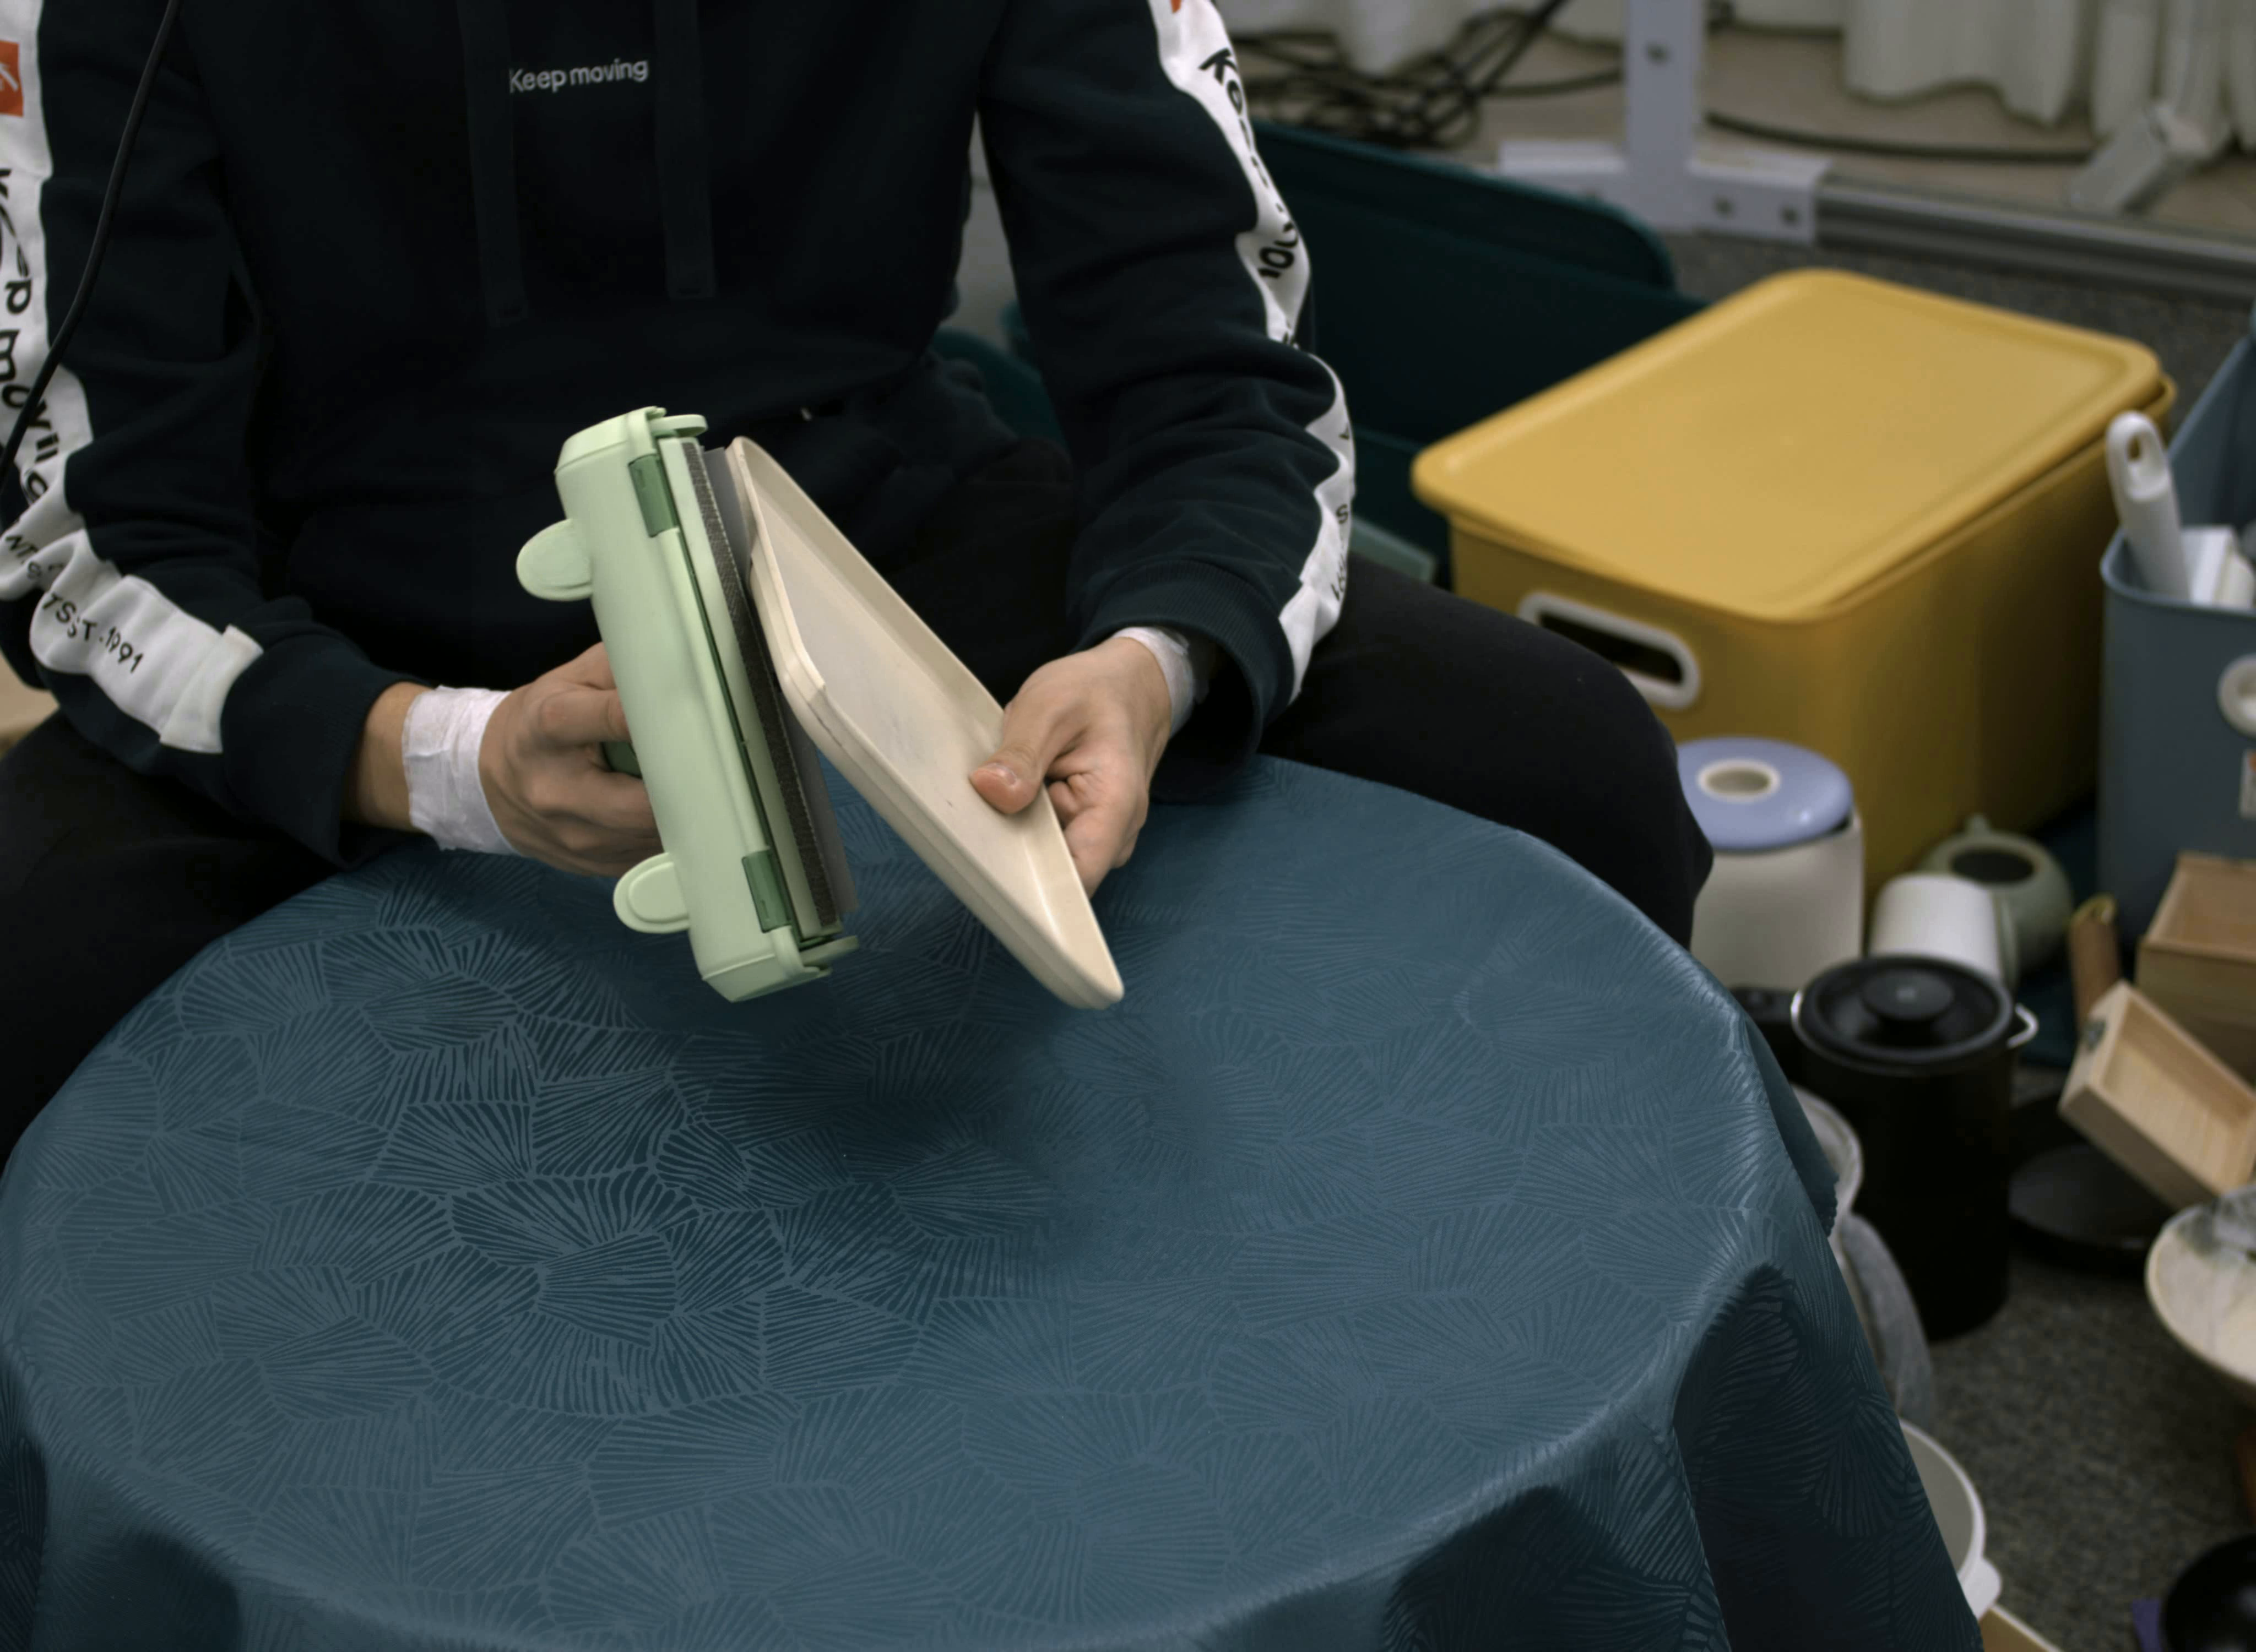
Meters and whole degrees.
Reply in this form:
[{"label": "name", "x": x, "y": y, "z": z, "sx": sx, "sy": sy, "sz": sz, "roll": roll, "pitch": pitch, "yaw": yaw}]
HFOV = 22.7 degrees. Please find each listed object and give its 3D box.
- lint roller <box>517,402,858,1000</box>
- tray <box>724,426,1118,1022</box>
[{"label": "lint roller", "x": -0.169, "y": -0.031, "z": 1.913, "sx": 0.082, "sy": 0.200, "sz": 0.181, "roll": -14, "pitch": -4, "yaw": -27}, {"label": "tray", "x": -0.074, "y": -0.034, "z": 1.903, "sx": 0.017, "sy": 0.170, "sz": 0.242, "roll": -36, "pitch": 26, "yaw": 8}]
